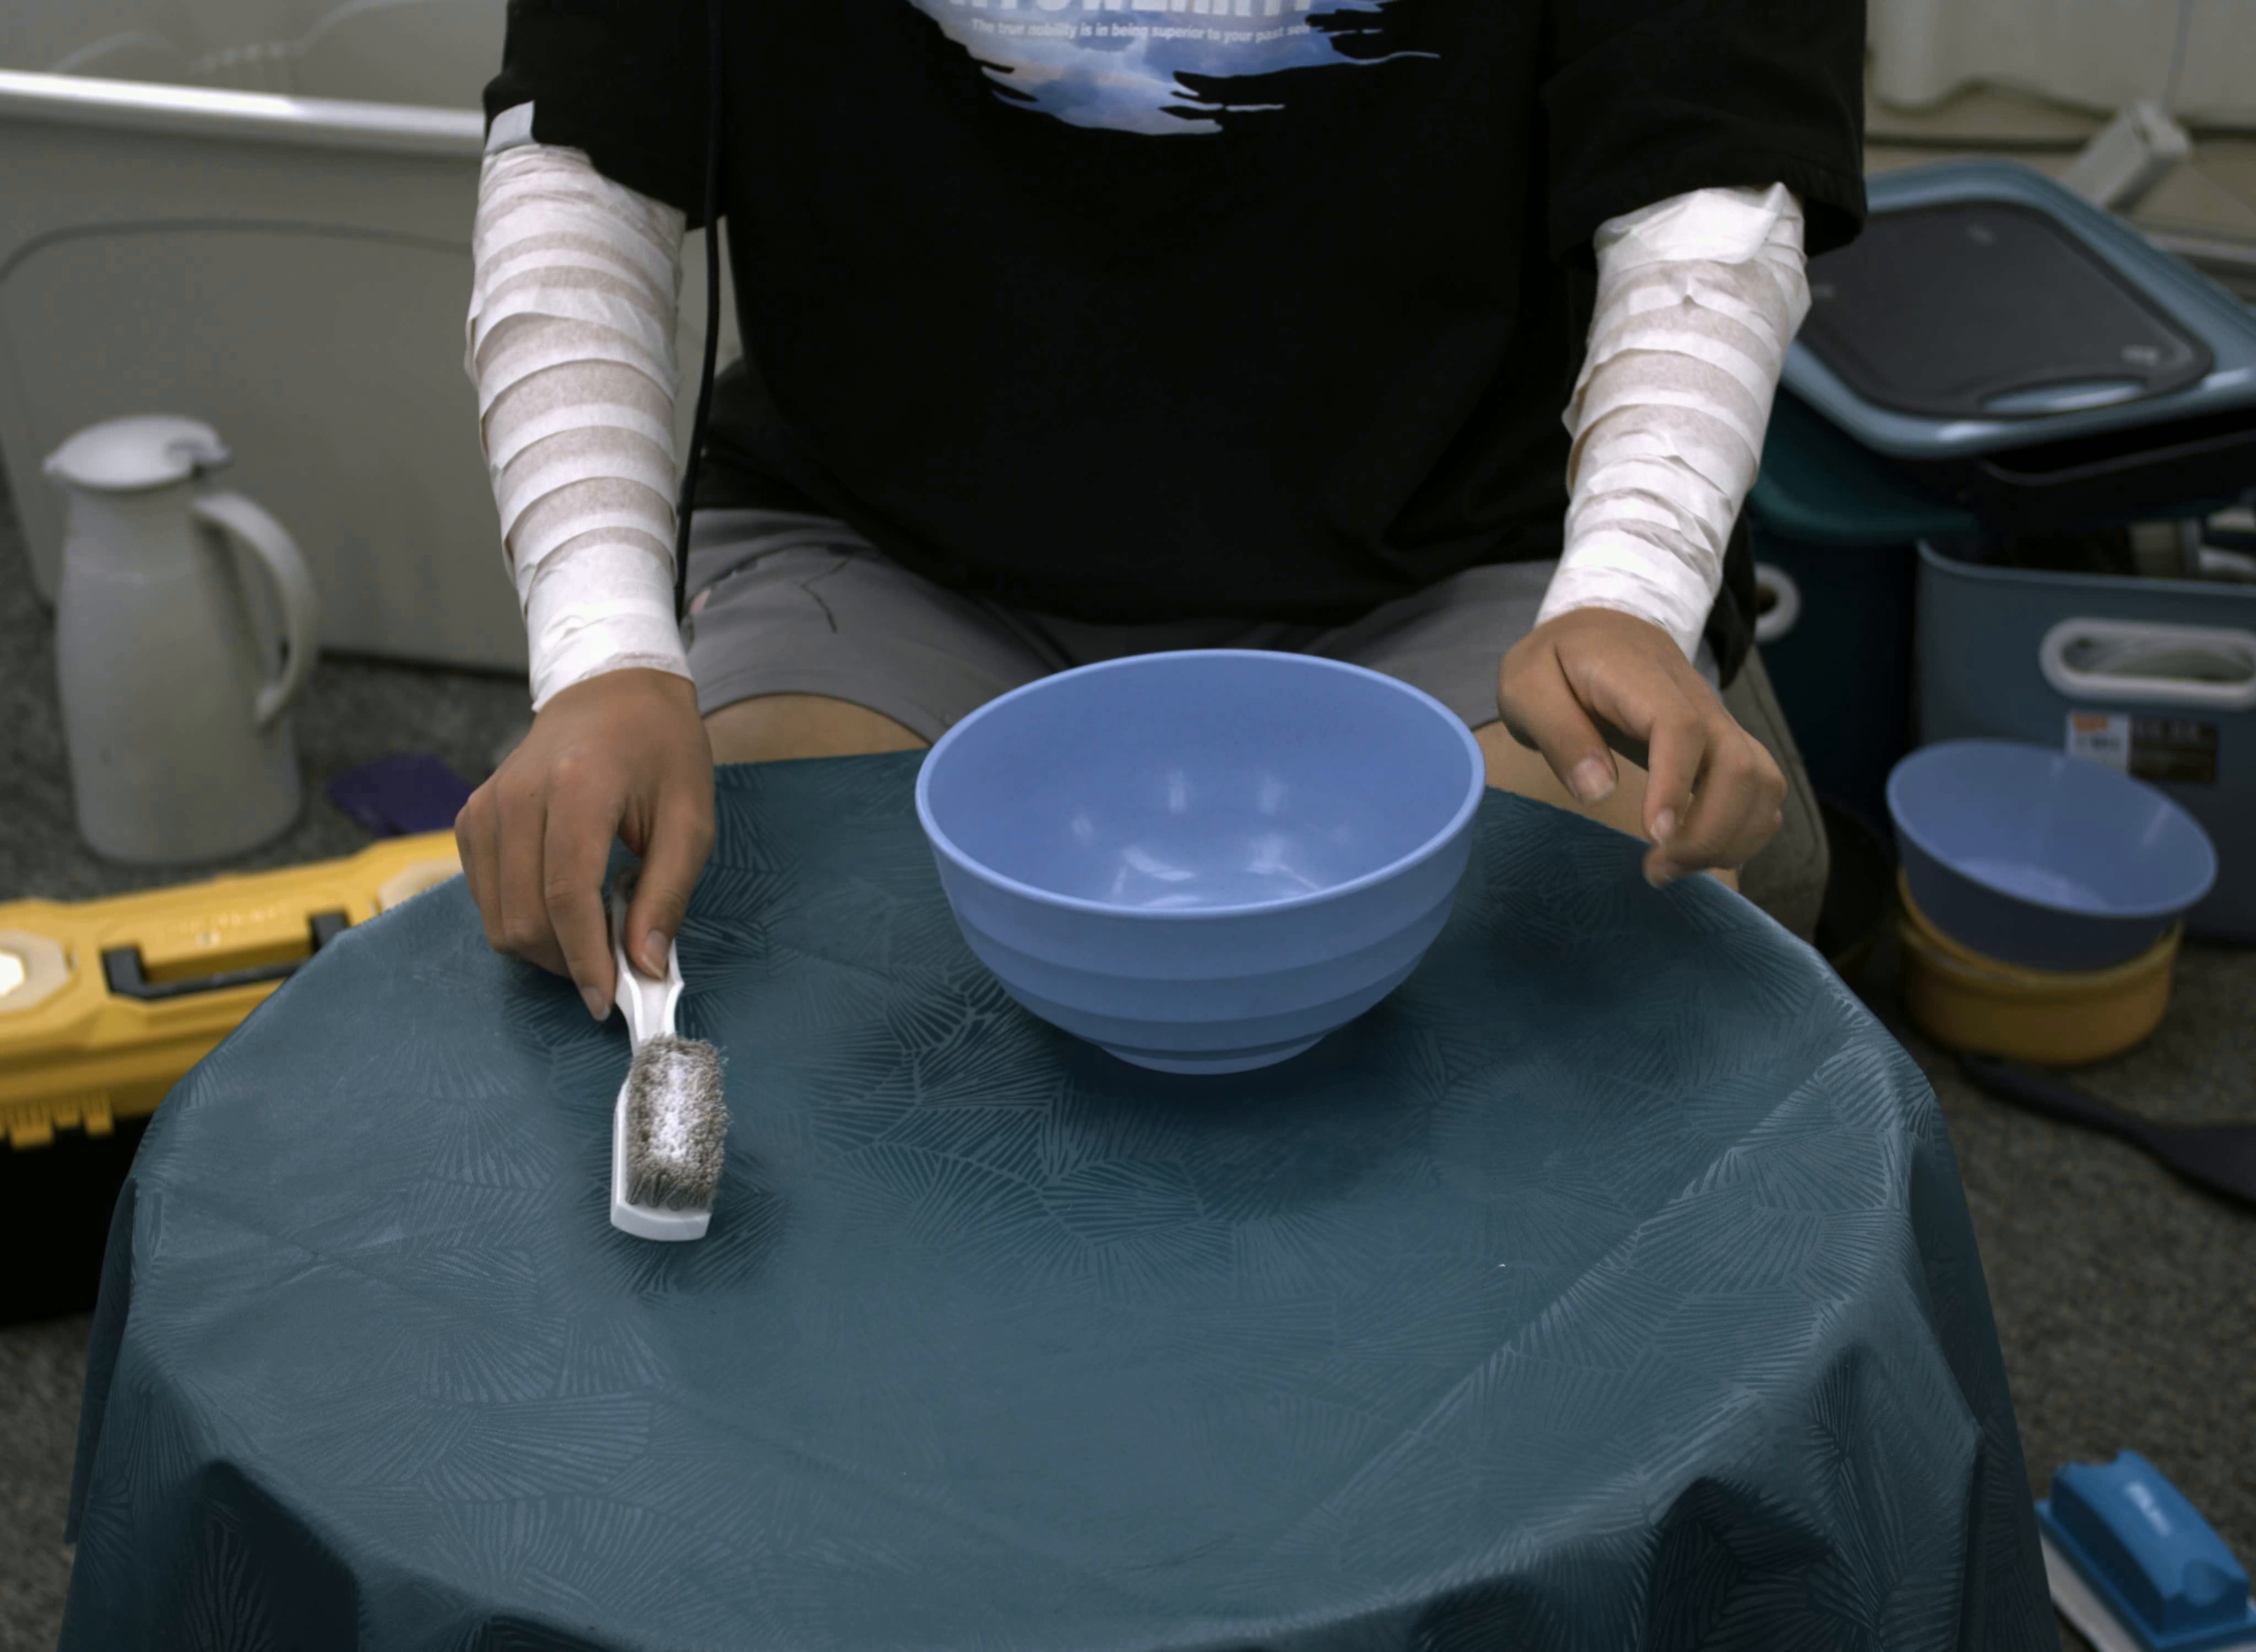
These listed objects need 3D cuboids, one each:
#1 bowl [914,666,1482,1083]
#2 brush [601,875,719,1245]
[{"bbox_3d":[0.027,0.026,1.949,0.195,0.094,0.199,-4,25,2],"label":"bowl"},{"bbox_3d":[-0.159,0.063,1.928,0.034,0.049,0.247,10,27,-9],"label":"brush"}]
